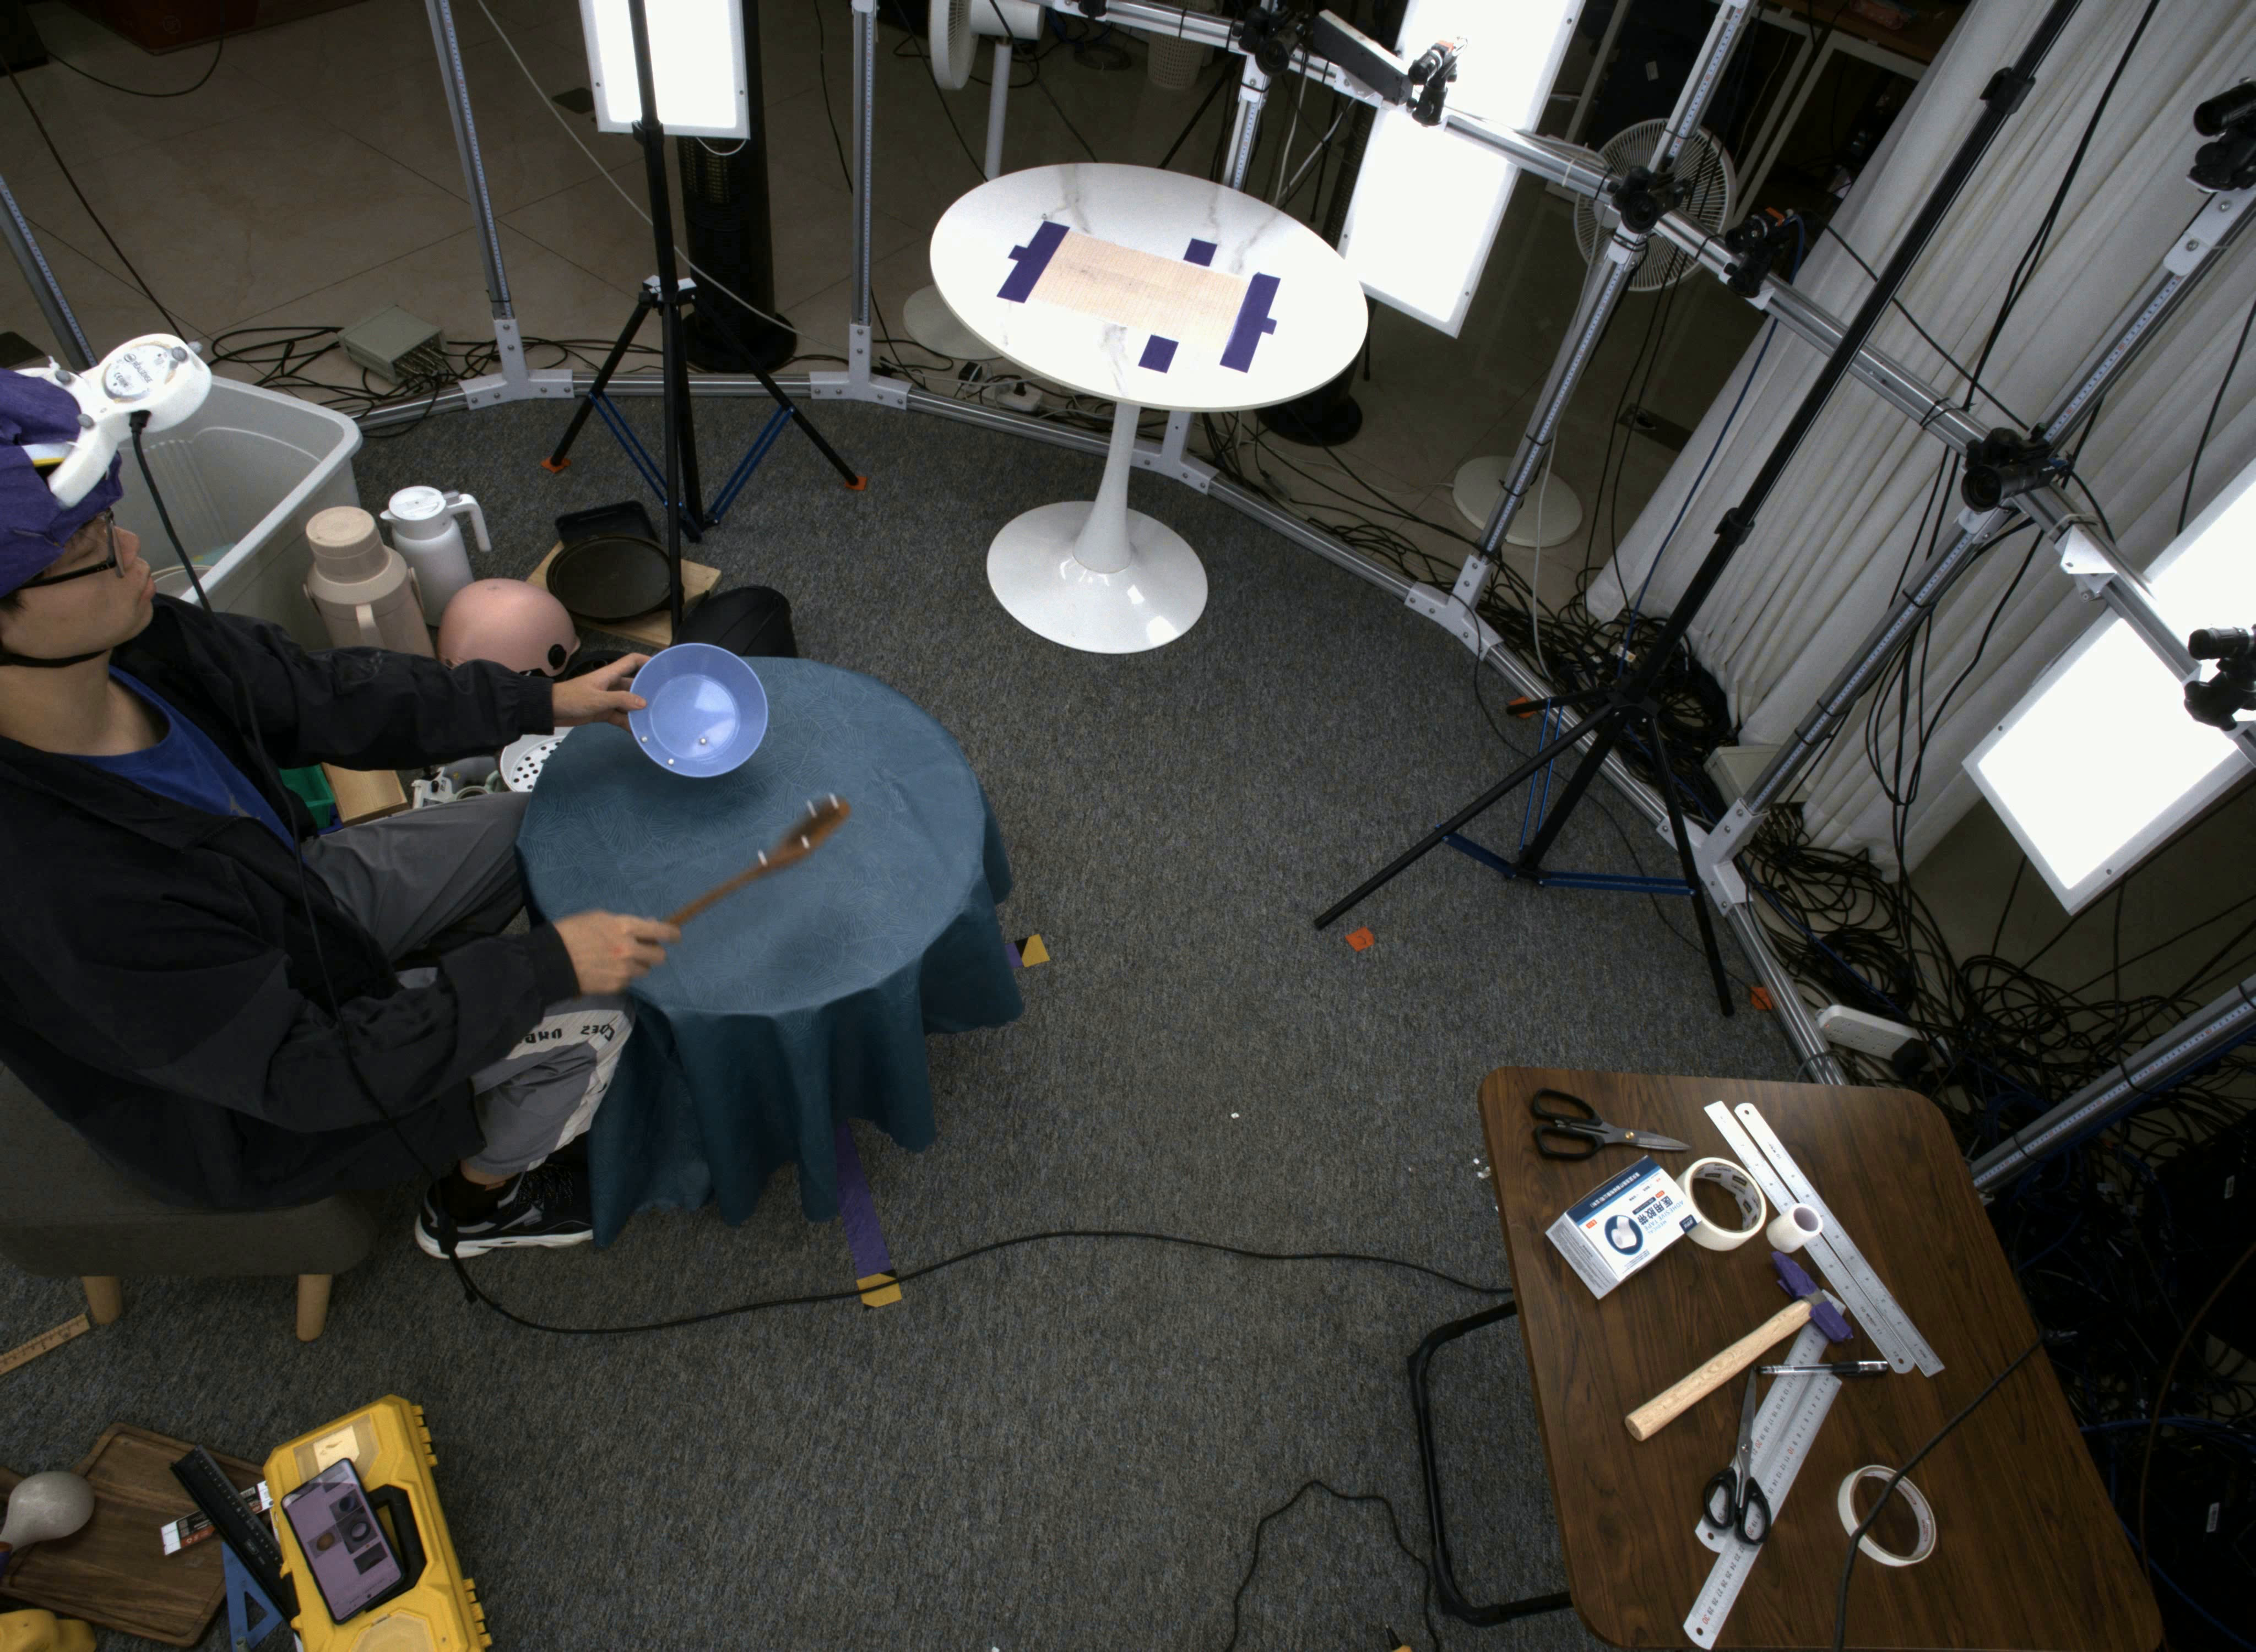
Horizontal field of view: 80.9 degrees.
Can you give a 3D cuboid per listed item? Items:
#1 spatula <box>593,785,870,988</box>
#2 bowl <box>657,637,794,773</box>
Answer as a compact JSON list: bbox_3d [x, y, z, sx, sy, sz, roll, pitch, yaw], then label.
[{"bbox_3d":[-0.458,0.067,1.498,0.387,0.025,0.082,-38,34,-26],"label":"spatula"},{"bbox_3d":[-0.534,-0.155,1.705,0.178,0.069,0.177,2,86,-22],"label":"bowl"}]
